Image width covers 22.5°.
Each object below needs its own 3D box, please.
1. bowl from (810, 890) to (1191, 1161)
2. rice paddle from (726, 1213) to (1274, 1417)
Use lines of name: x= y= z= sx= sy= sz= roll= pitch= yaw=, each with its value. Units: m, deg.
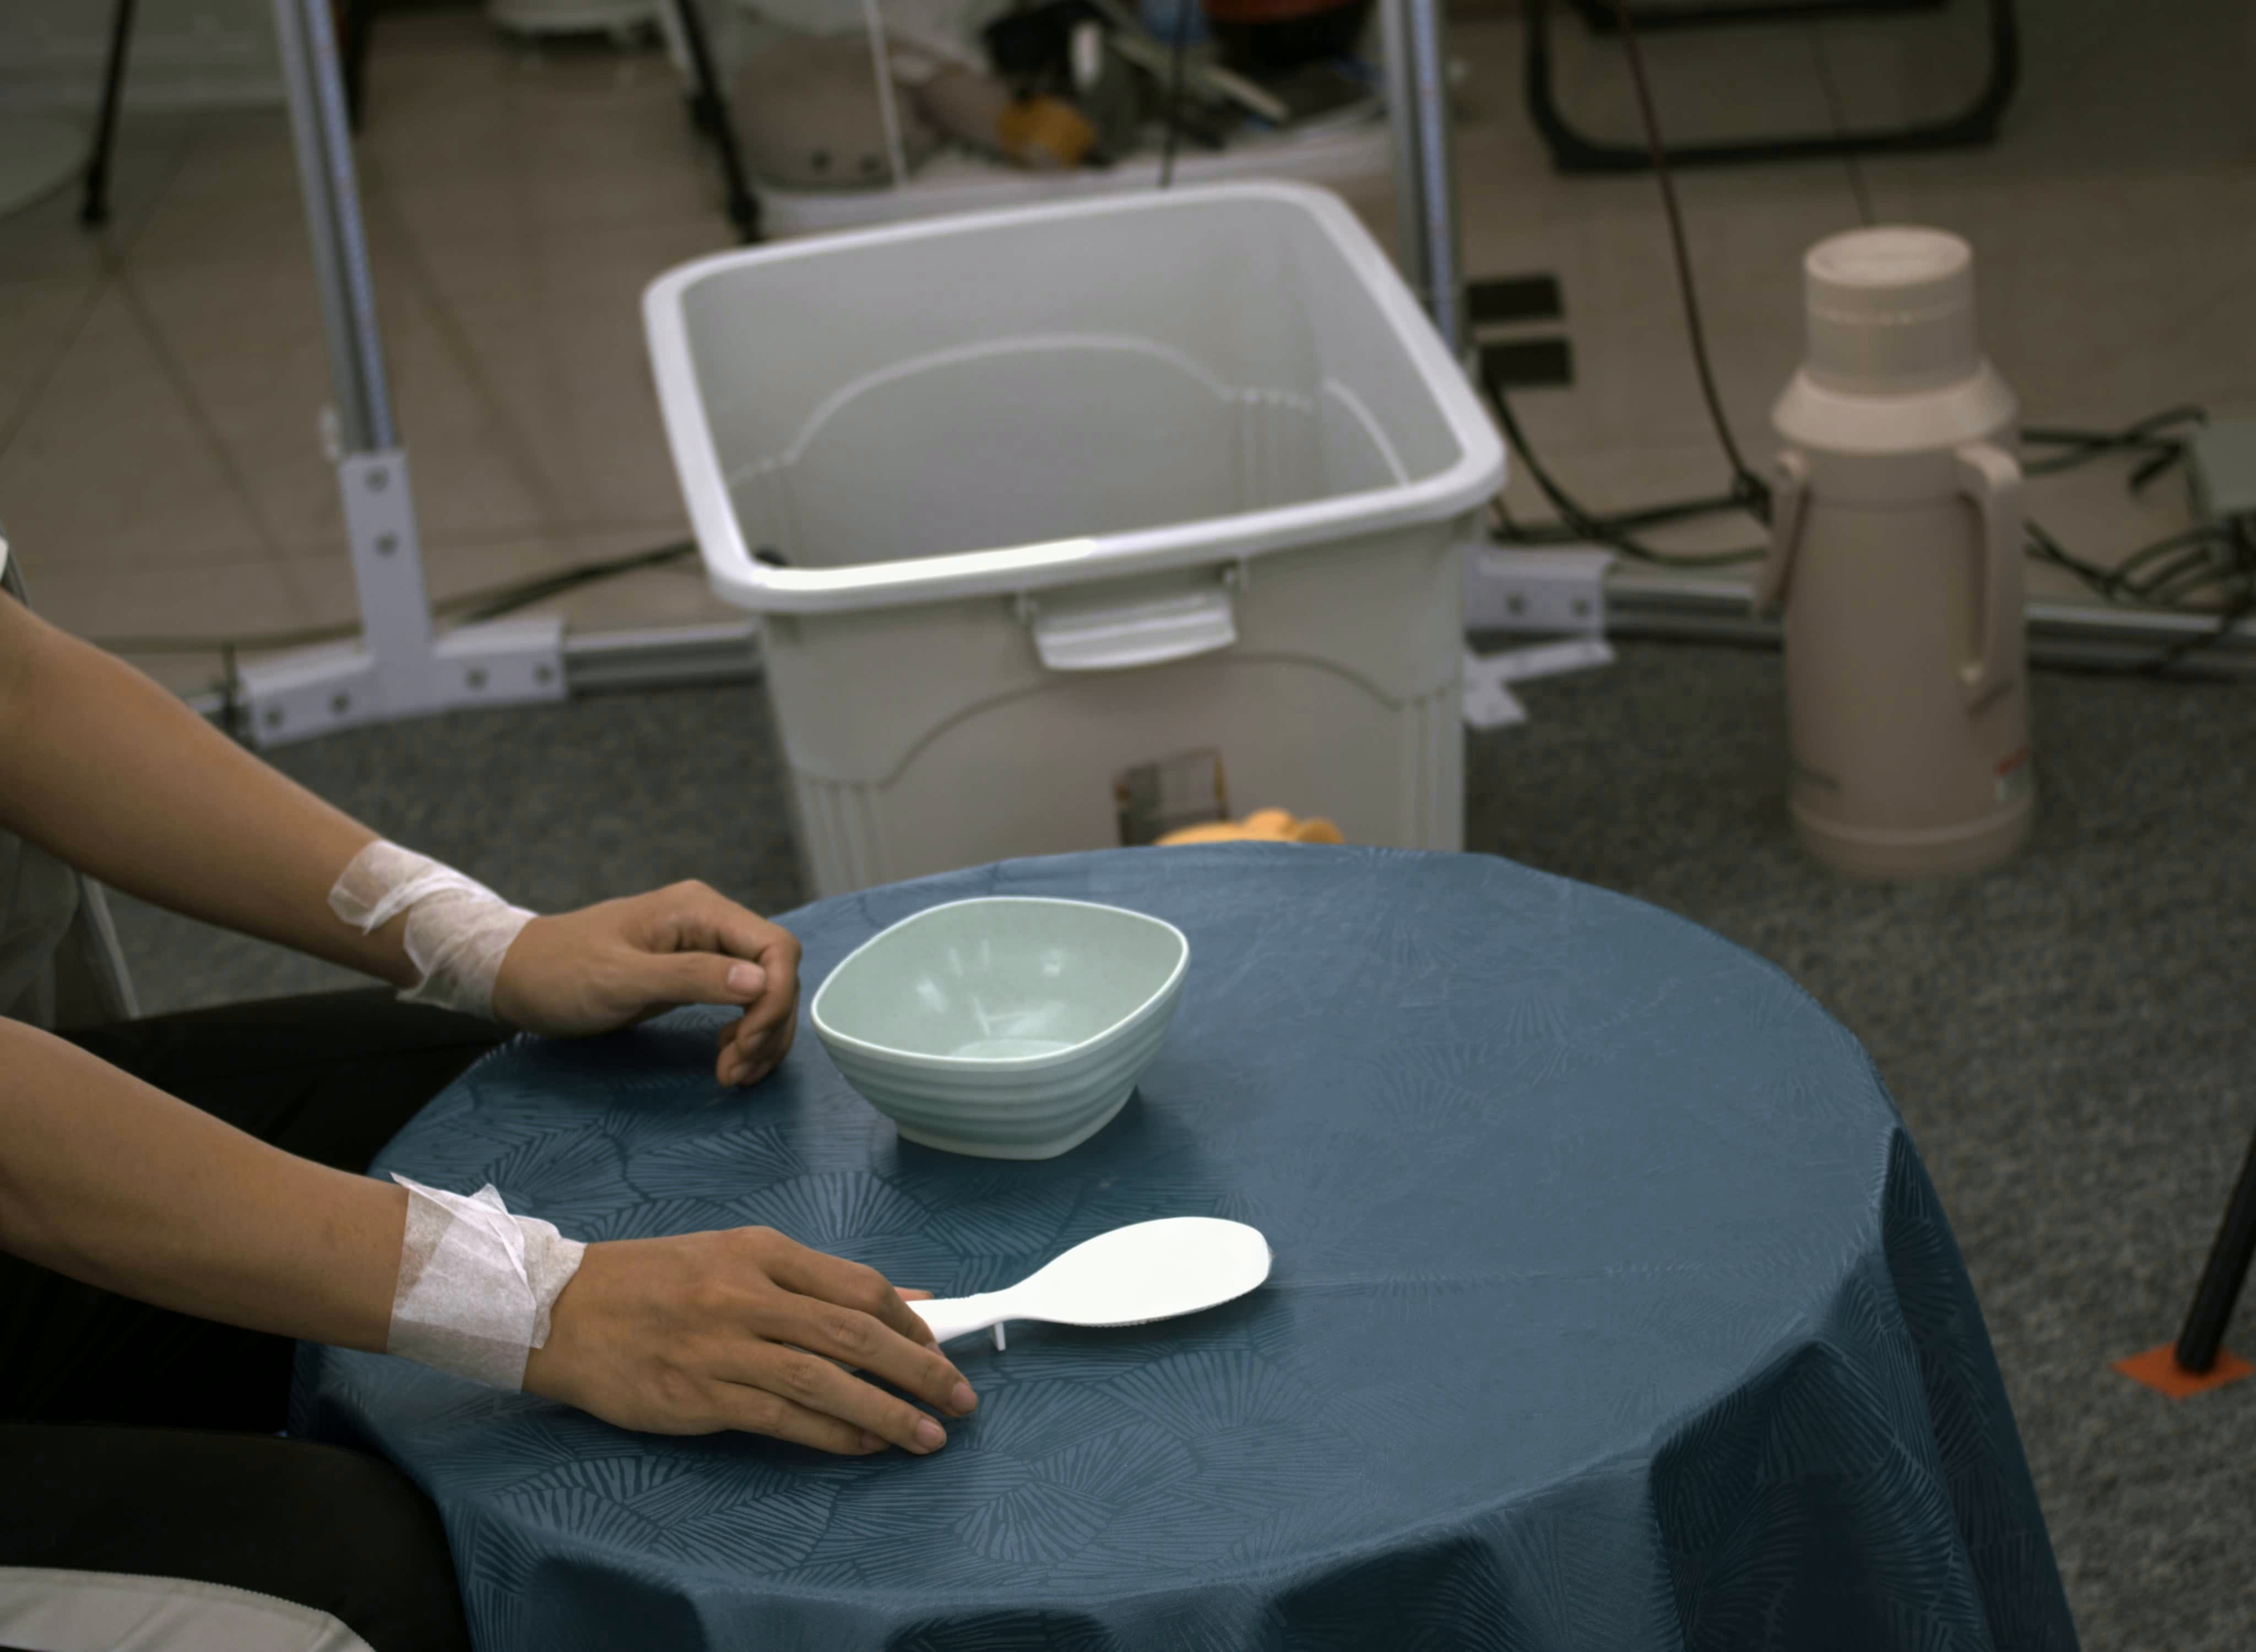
bowl: x=-0.047 y=0.083 z=2.214 sx=0.151 sy=0.059 sz=0.149 roll=-4 pitch=27 yaw=2
rice paddle: x=-0.044 y=0.173 z=2.054 sx=0.204 sy=0.030 sz=0.068 roll=-14 pitch=28 yaw=-14
